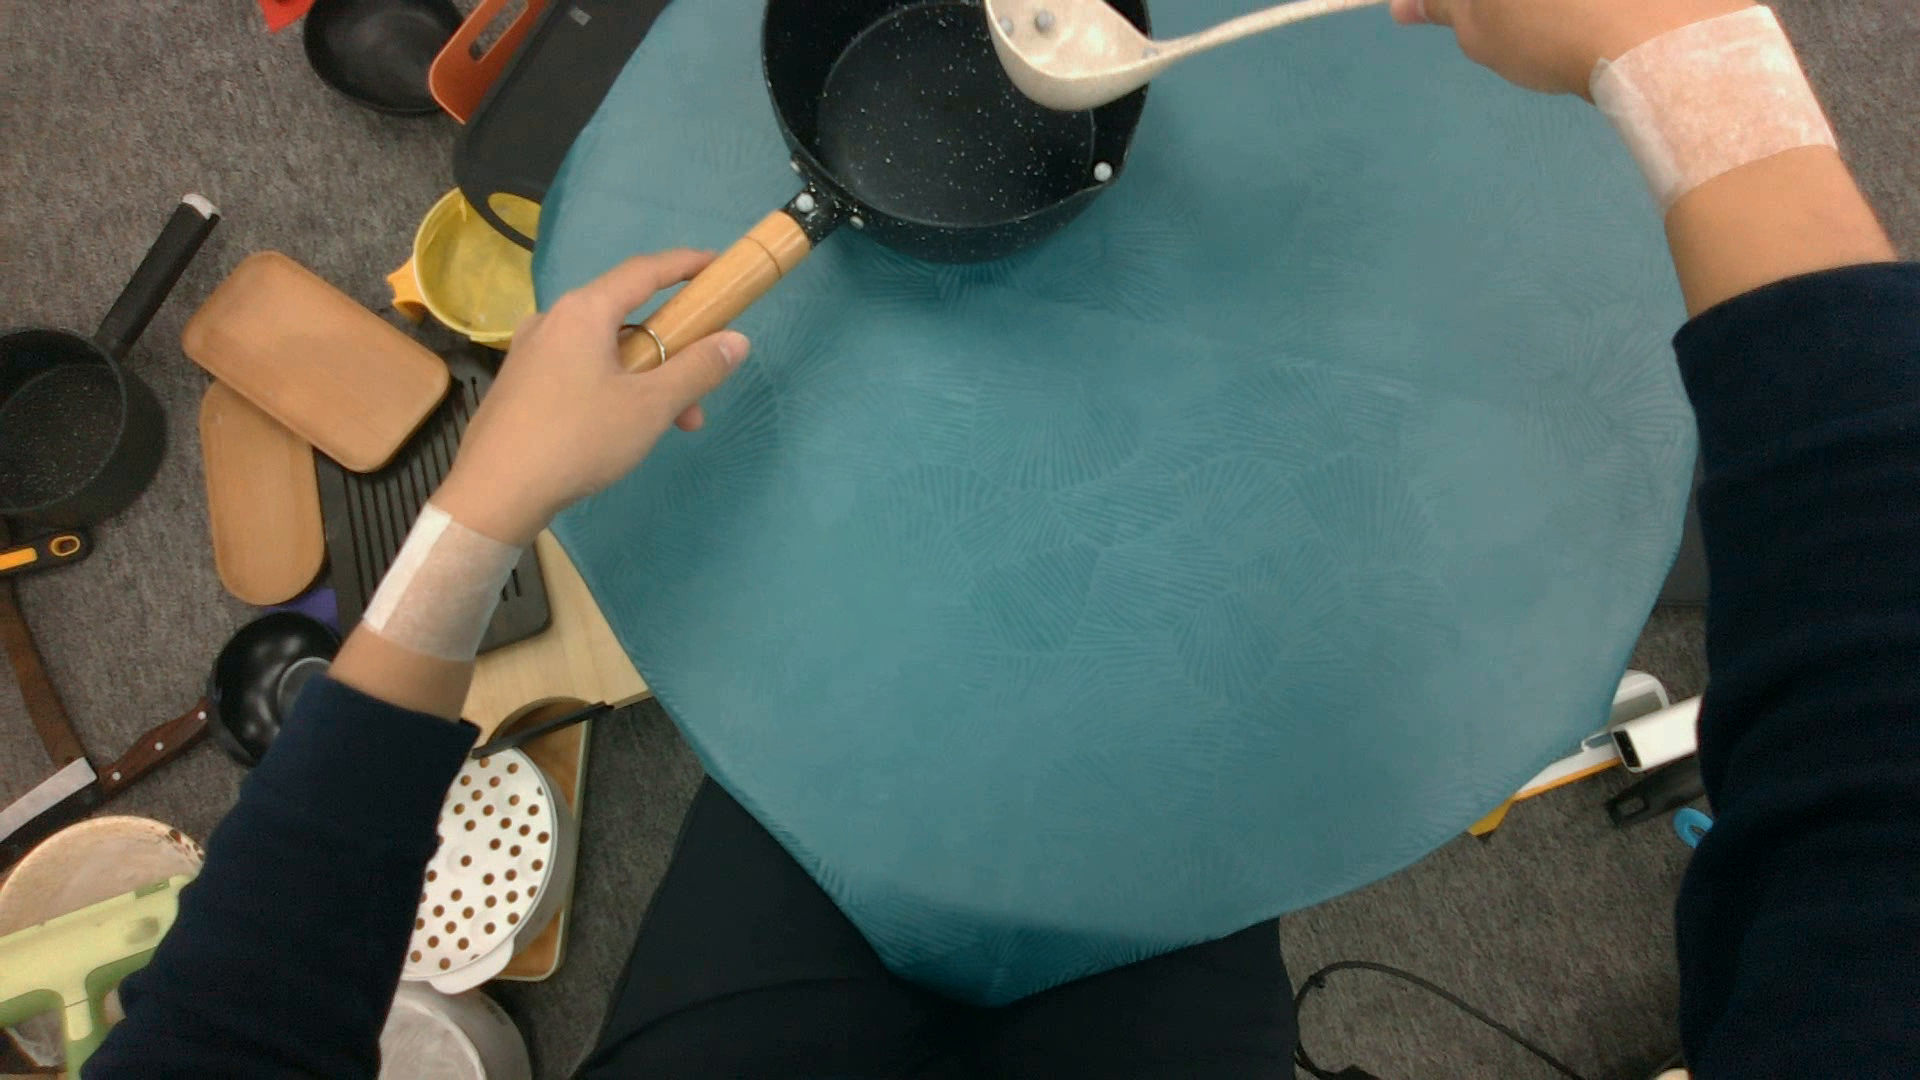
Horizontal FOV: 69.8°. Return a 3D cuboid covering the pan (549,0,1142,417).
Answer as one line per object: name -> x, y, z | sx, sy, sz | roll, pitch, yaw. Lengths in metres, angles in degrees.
pan -> -0.058, -0.173, 0.665 | 0.207, 0.108, 0.343 | 40, 79, 5

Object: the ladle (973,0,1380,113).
ladle -> 0.132, -0.240, 0.579 | 0.274, 0.090, 0.069 | -5, 115, 34
